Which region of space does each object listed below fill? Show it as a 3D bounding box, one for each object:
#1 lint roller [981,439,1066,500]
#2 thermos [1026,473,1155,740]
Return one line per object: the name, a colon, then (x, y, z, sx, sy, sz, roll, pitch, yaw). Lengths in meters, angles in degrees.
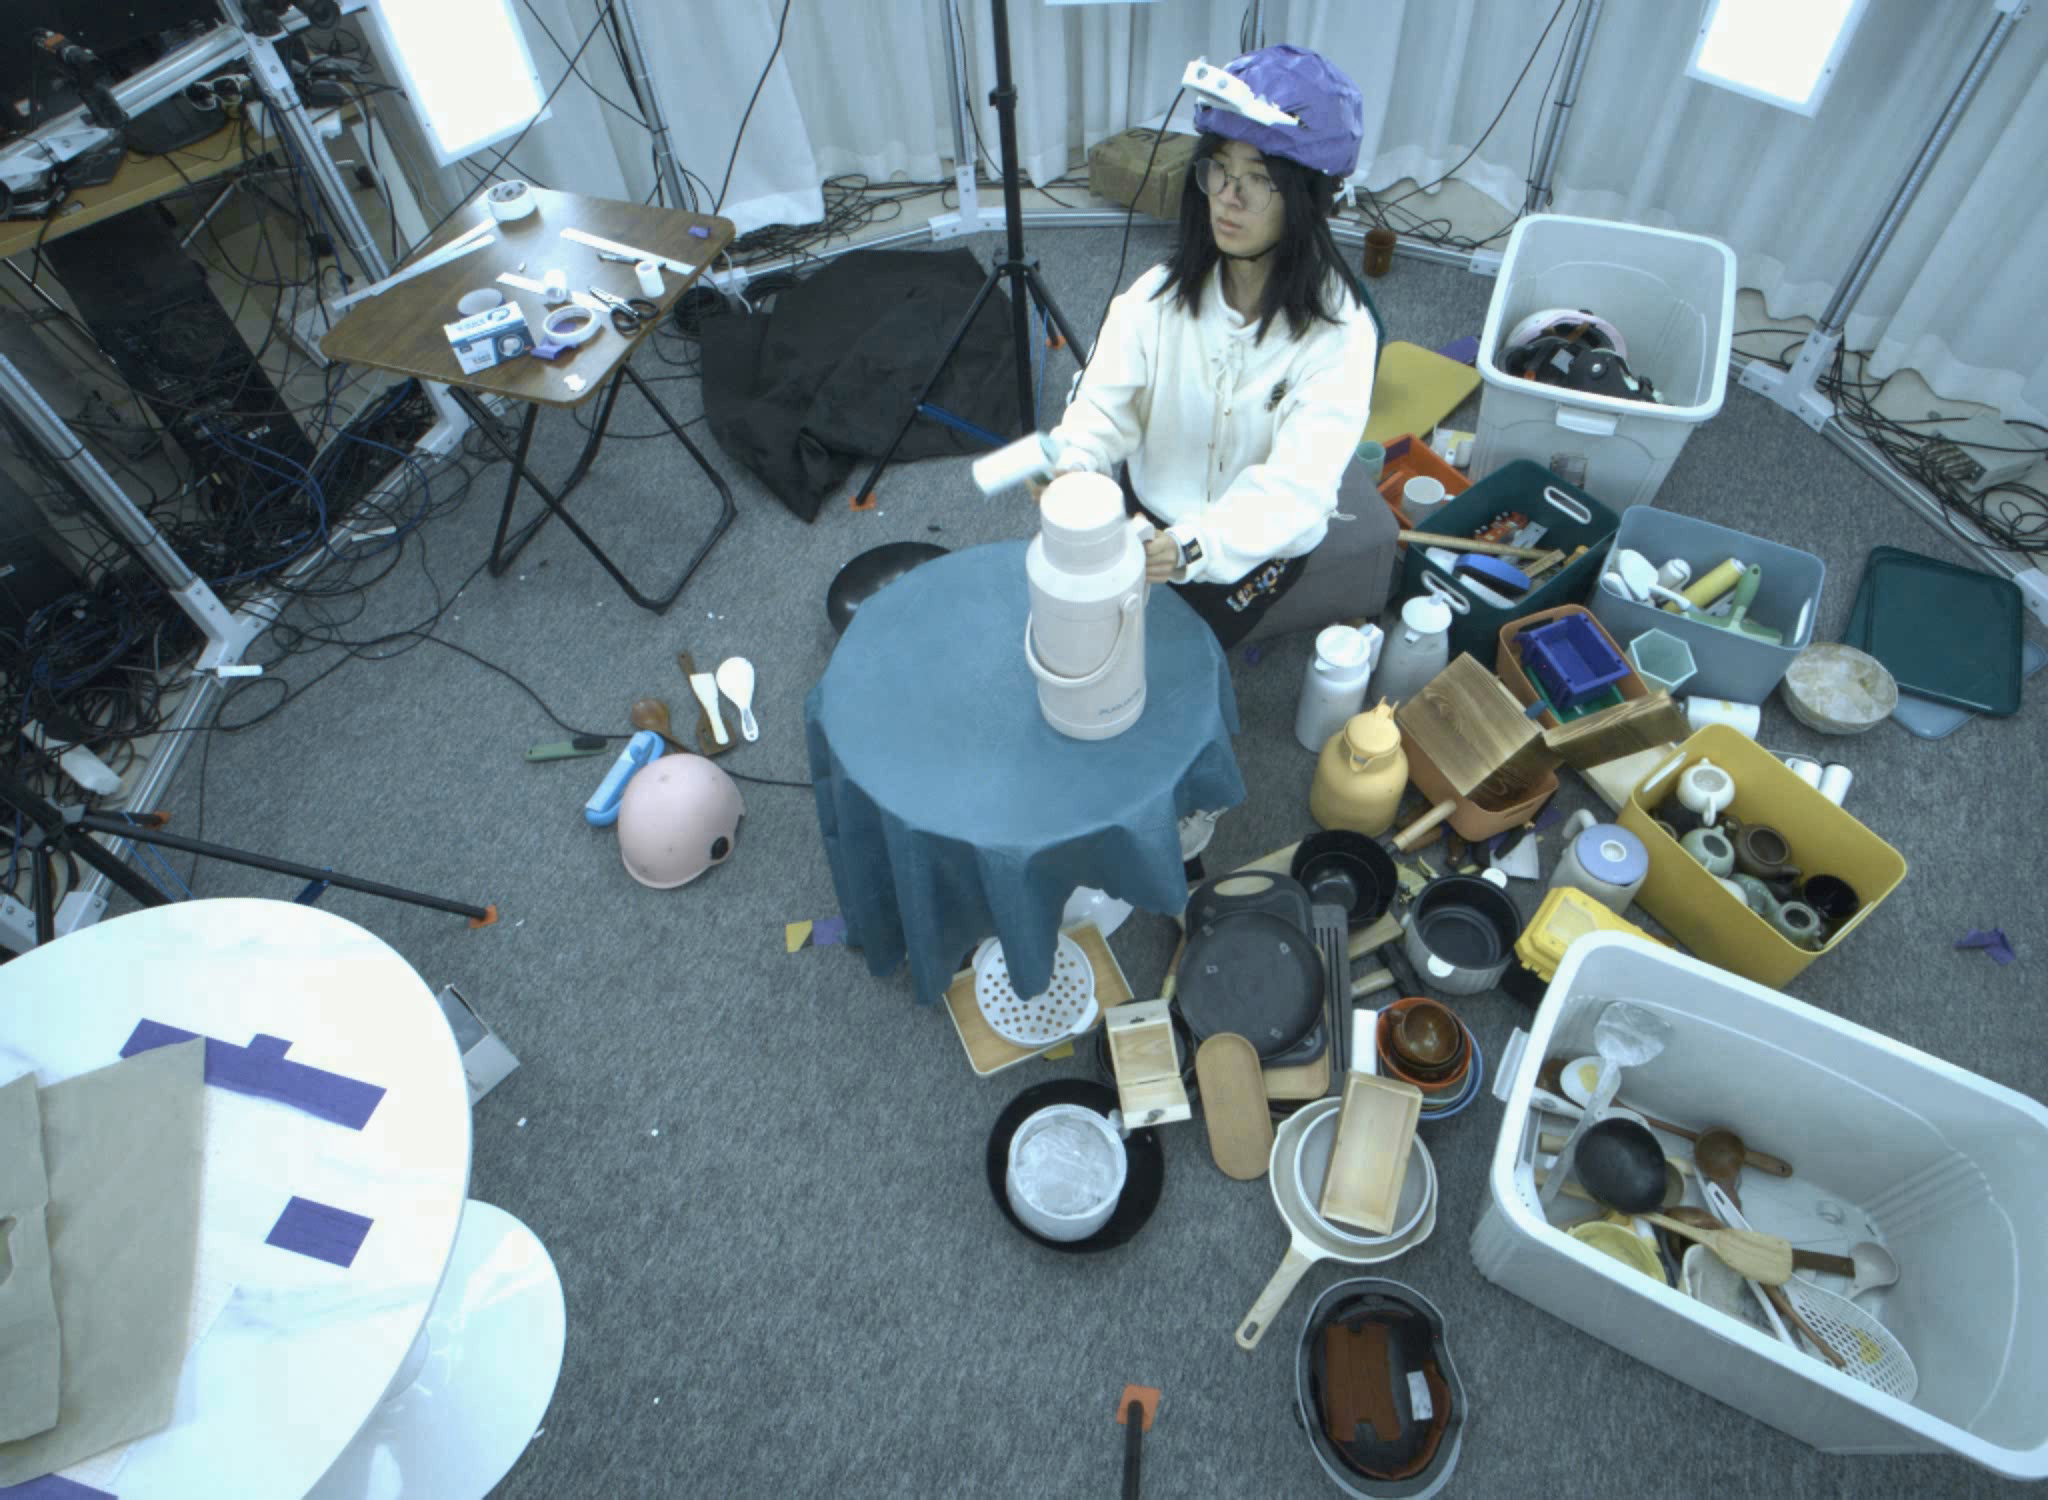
lint roller: (0.025, -0.381, 1.716, 0.115, 0.200, 0.048, -24, 82, 21)
thermos: (0.097, -0.199, 1.679, 0.208, 0.411, 0.172, -38, 60, -20)
